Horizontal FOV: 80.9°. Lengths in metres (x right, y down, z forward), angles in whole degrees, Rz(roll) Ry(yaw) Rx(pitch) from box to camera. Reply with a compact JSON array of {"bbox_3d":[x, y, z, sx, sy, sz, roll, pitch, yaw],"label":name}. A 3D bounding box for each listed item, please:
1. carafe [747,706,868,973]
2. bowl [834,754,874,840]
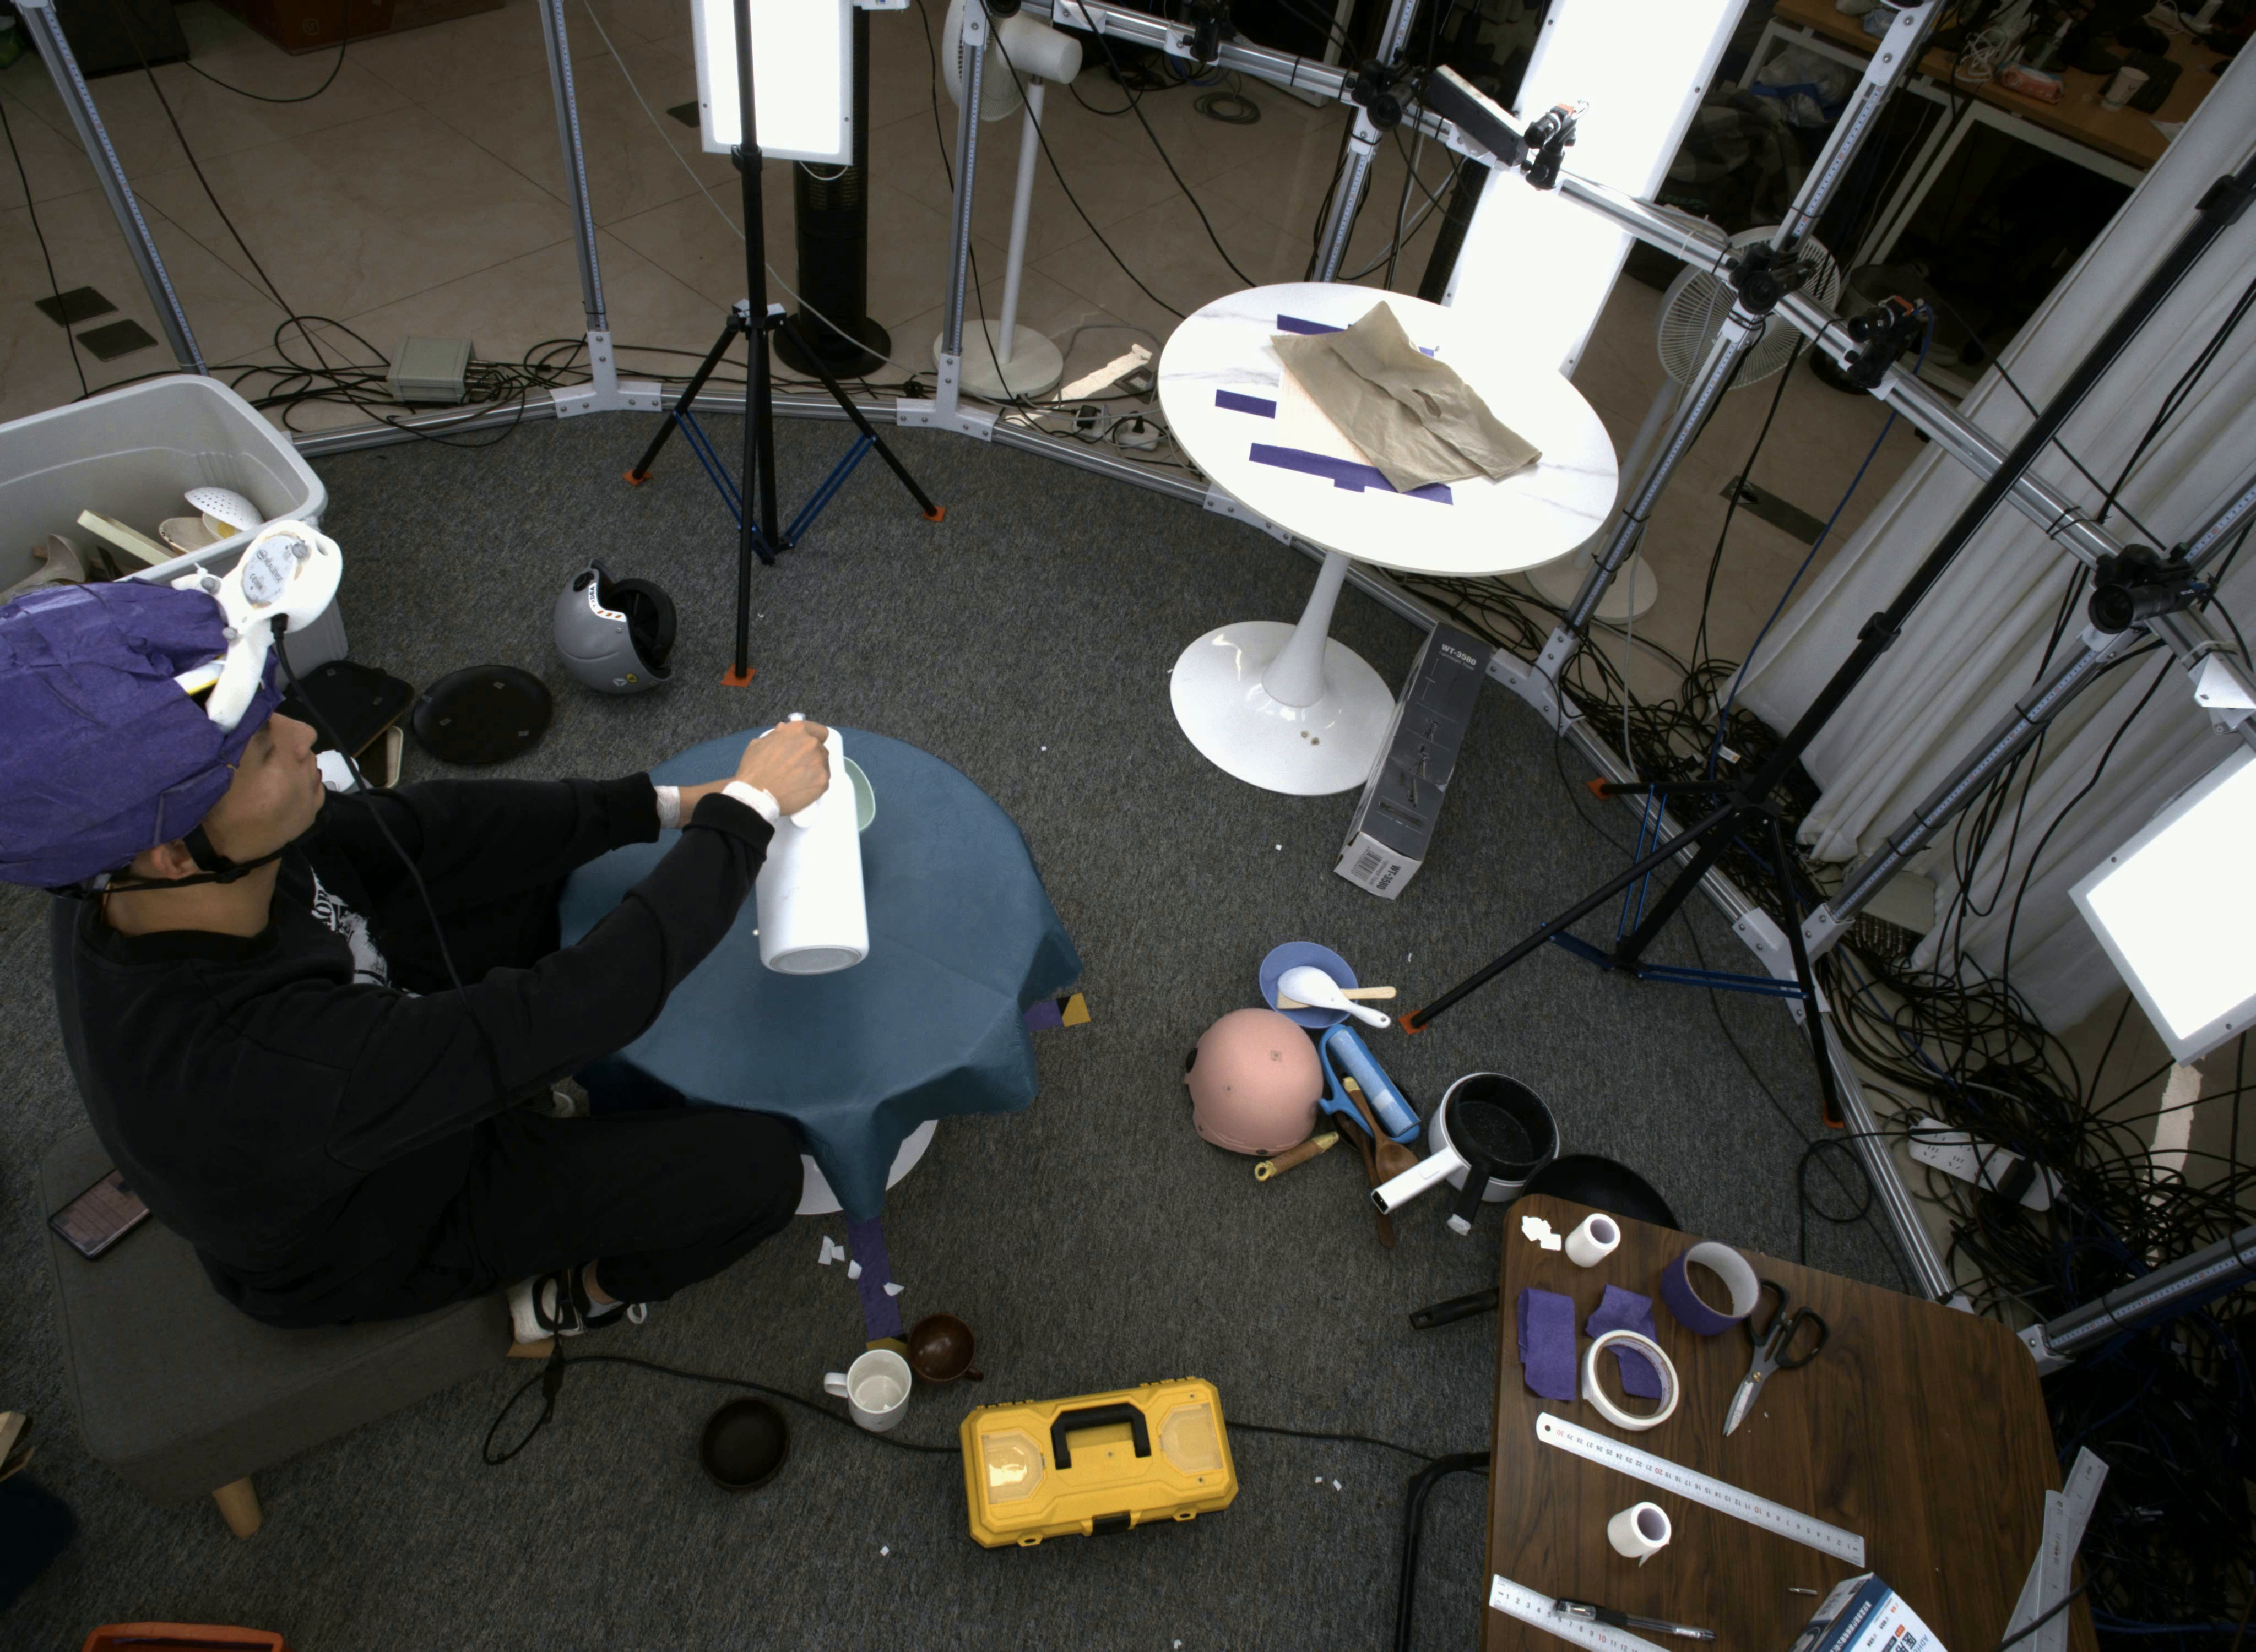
[{"bbox_3d":[-0.355,0.012,1.424,0.124,0.174,0.266,-3,70,-14],"label":"carafe"},{"bbox_3d":[-0.397,-0.019,1.651,0.151,0.060,0.149,9,53,-10],"label":"bowl"}]
